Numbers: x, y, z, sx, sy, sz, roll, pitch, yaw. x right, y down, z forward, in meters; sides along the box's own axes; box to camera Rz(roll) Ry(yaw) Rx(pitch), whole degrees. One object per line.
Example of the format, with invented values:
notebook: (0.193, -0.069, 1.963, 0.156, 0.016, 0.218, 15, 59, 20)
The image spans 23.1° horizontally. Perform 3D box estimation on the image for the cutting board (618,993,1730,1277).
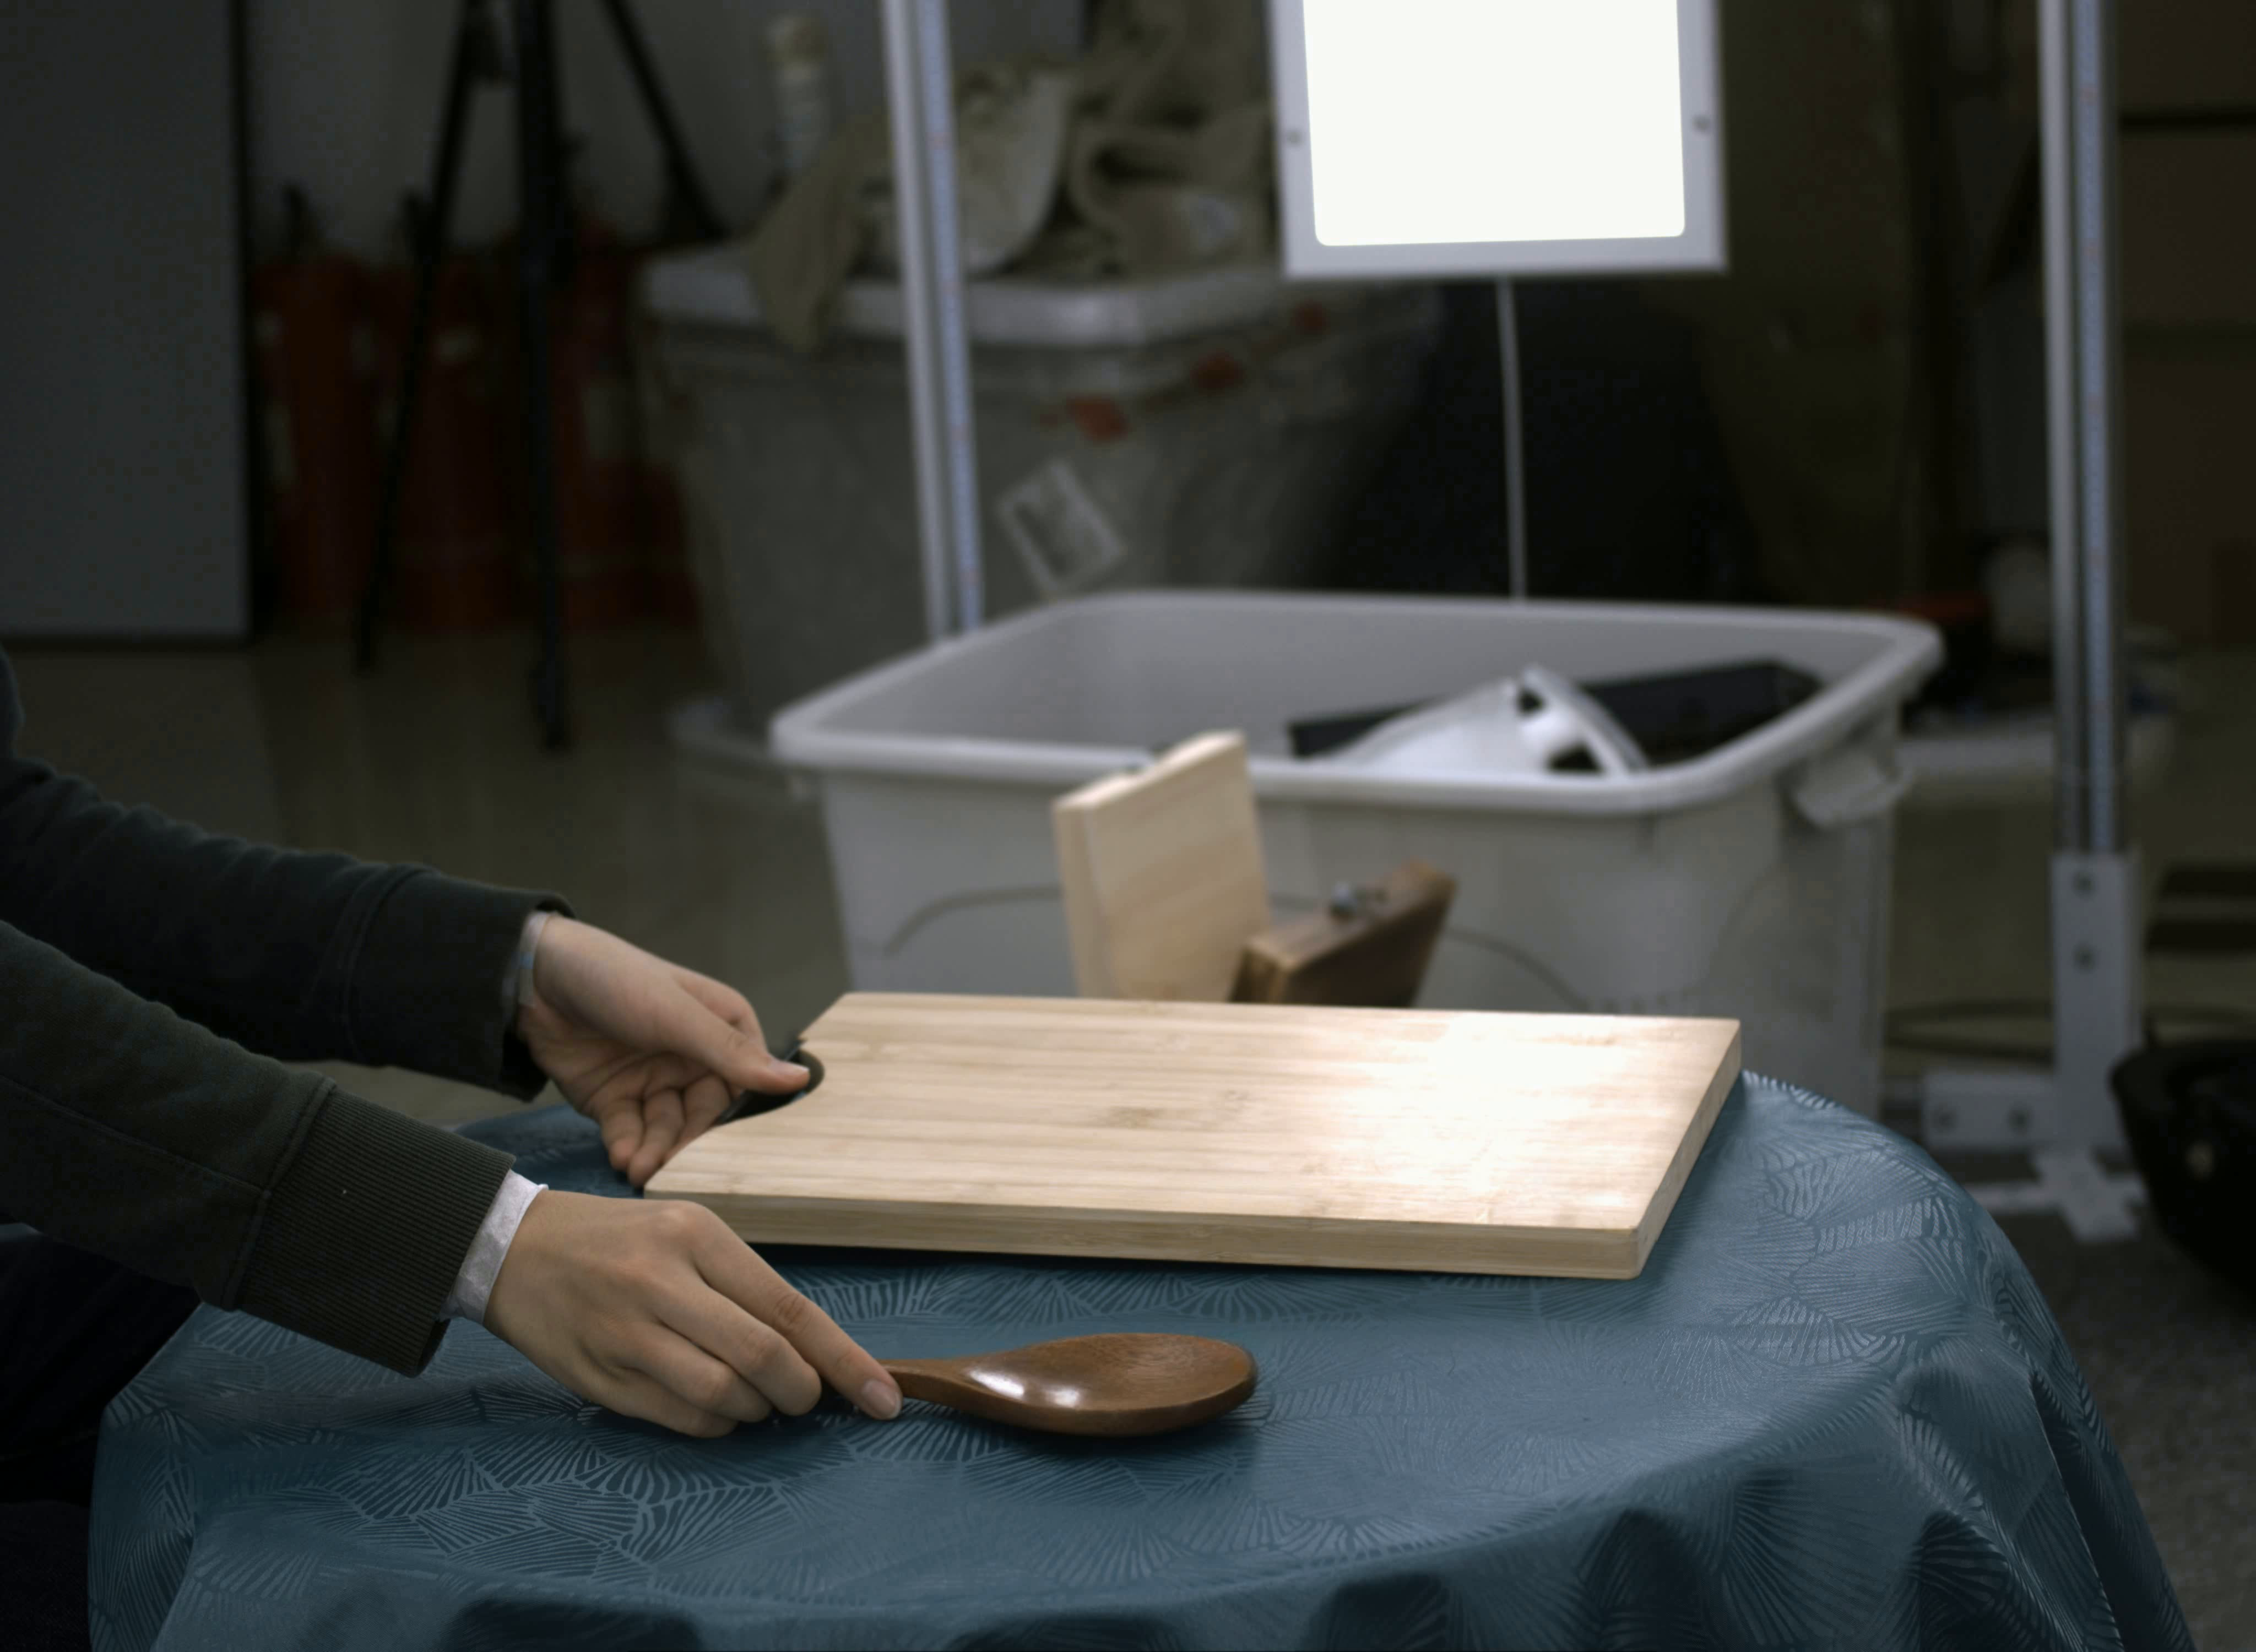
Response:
cutting board: (0.023, 0.105, 1.921, 0.352, 0.024, 0.247, 1, 14, 15)

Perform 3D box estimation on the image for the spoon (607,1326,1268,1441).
spoon: (-0.060, 0.171, 1.701, 0.219, 0.017, 0.074, 1, 16, 21)
